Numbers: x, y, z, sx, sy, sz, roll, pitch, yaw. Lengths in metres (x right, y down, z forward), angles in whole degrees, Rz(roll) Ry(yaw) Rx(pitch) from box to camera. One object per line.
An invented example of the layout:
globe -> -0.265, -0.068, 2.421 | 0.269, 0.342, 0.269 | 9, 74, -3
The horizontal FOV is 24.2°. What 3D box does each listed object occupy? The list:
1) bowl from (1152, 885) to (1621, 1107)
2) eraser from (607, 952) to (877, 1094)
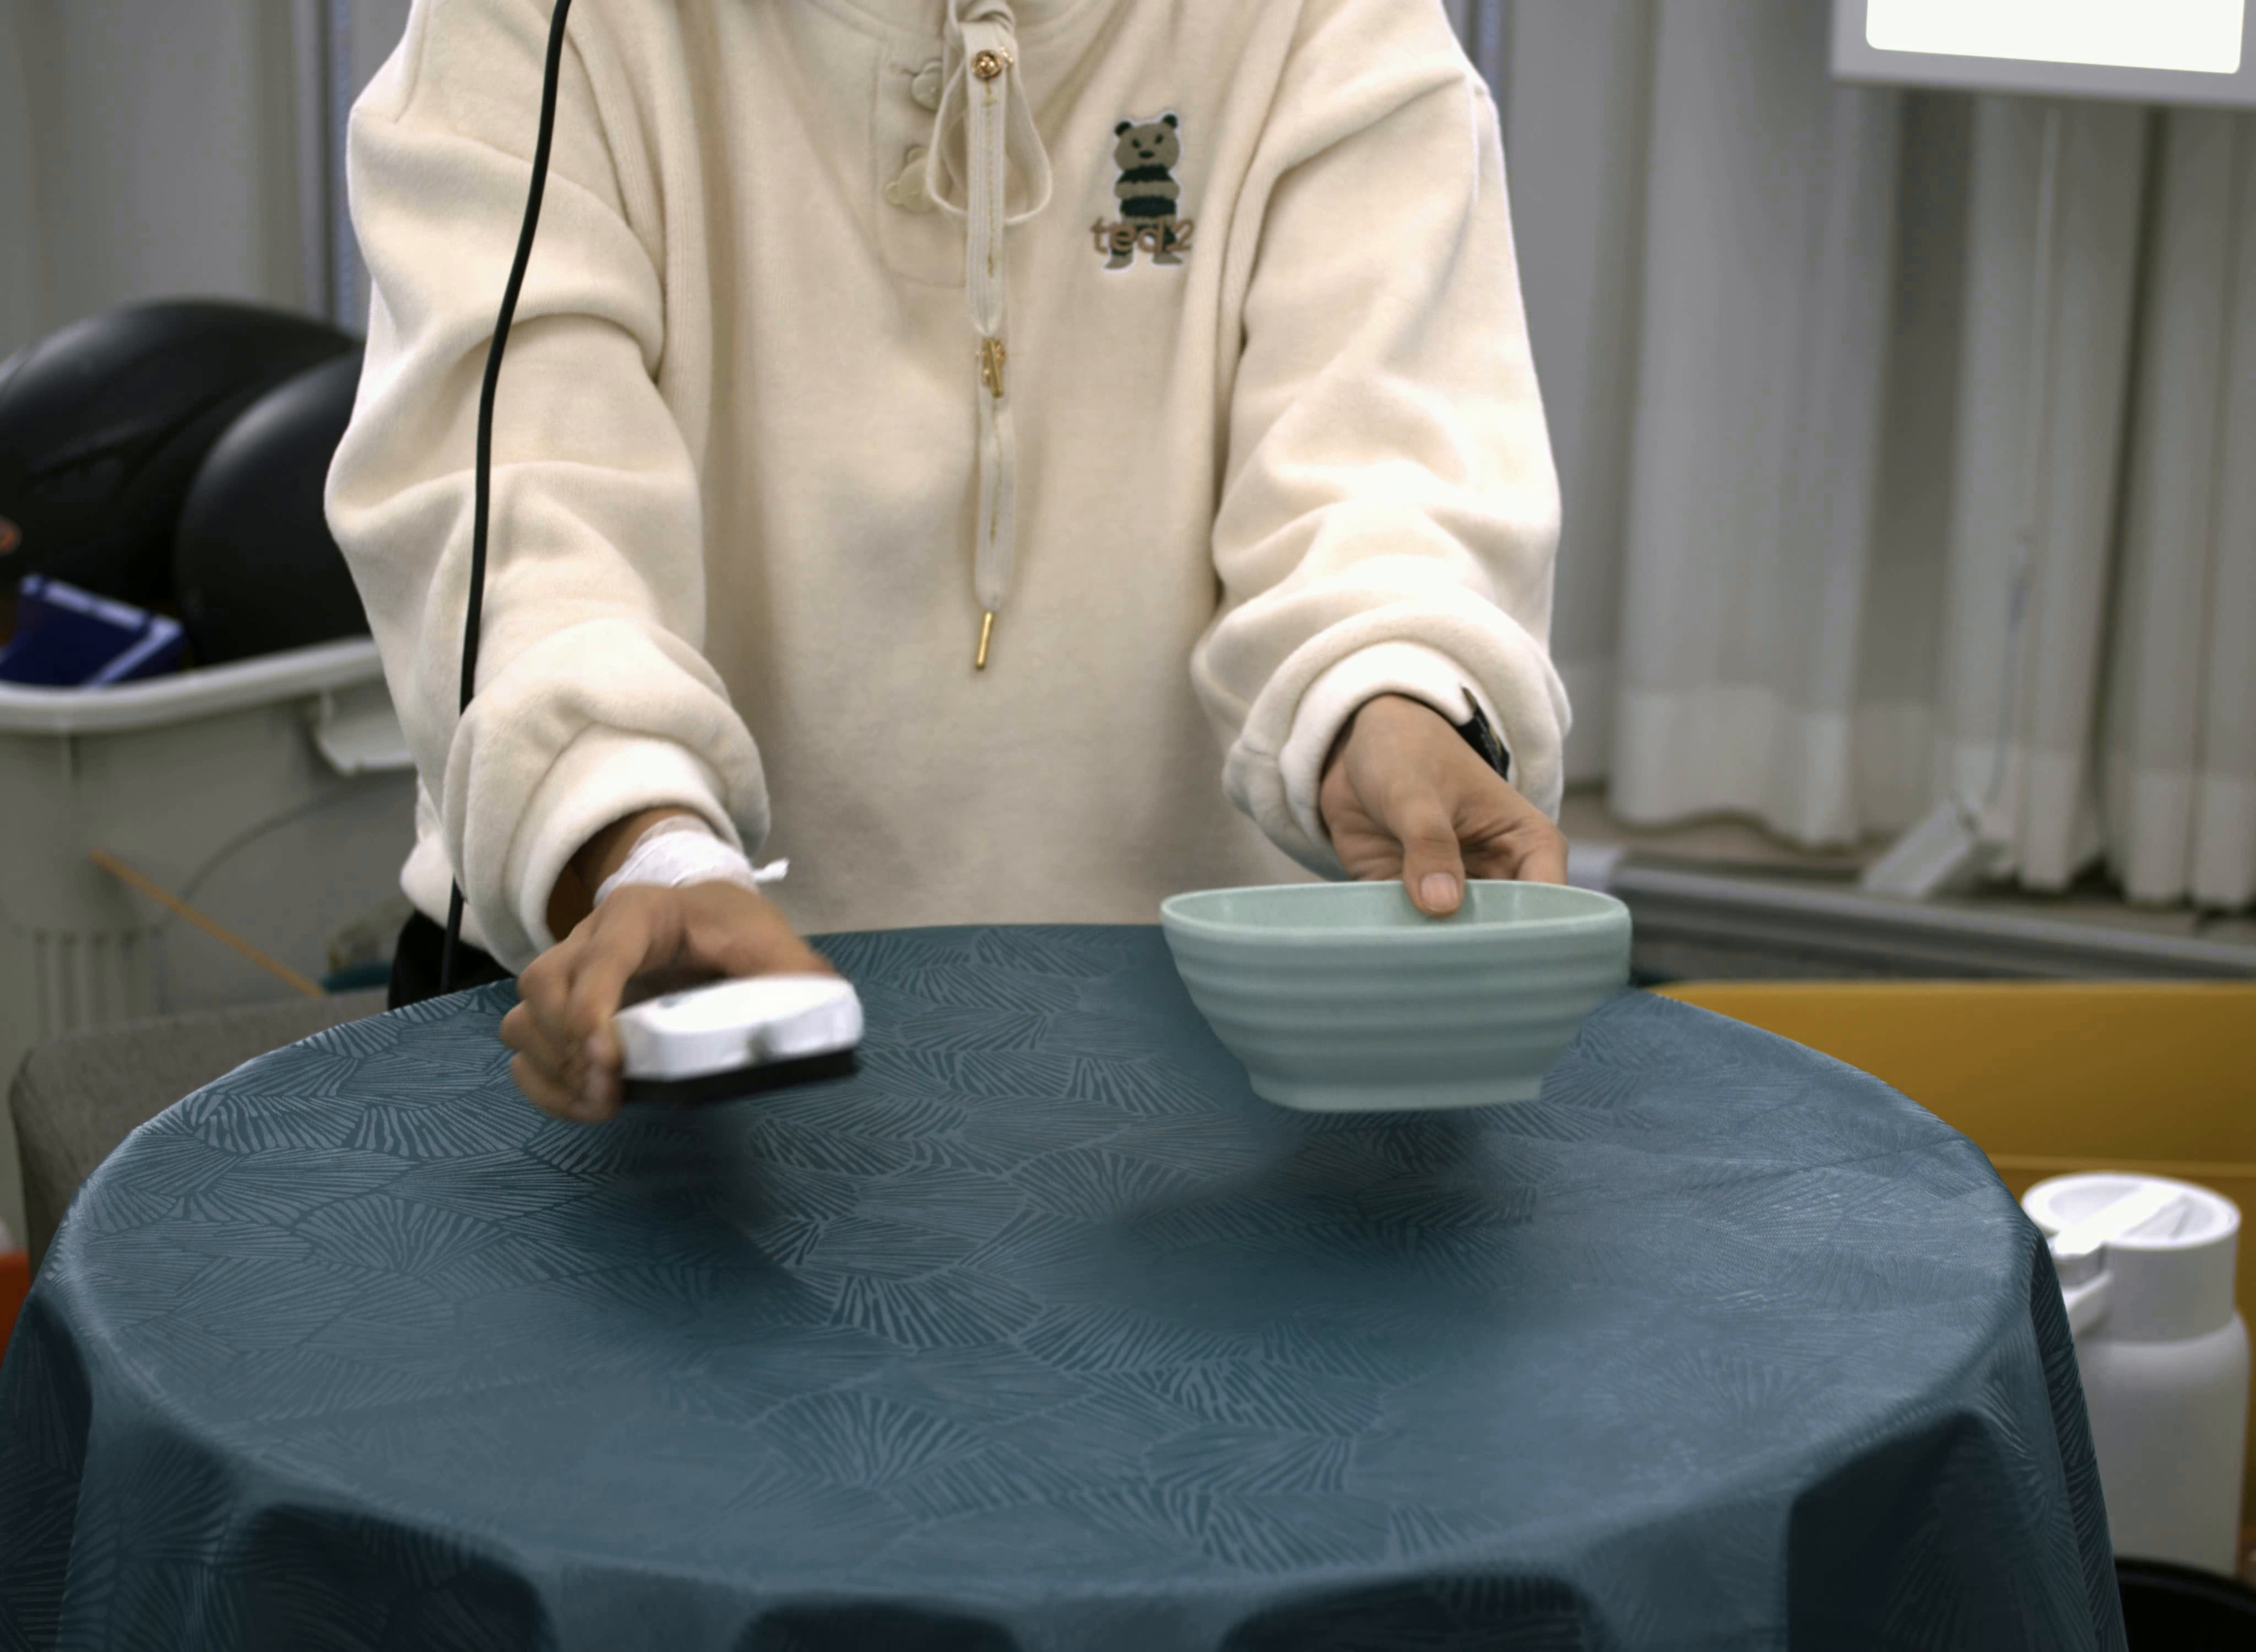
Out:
bowl -> 0.077, 0.052, 1.594 | 0.151, 0.059, 0.151 | 1, 4, 0
eraser -> -0.114, 0.059, 1.566 | 0.063, 0.034, 0.130 | -10, 1, -16
